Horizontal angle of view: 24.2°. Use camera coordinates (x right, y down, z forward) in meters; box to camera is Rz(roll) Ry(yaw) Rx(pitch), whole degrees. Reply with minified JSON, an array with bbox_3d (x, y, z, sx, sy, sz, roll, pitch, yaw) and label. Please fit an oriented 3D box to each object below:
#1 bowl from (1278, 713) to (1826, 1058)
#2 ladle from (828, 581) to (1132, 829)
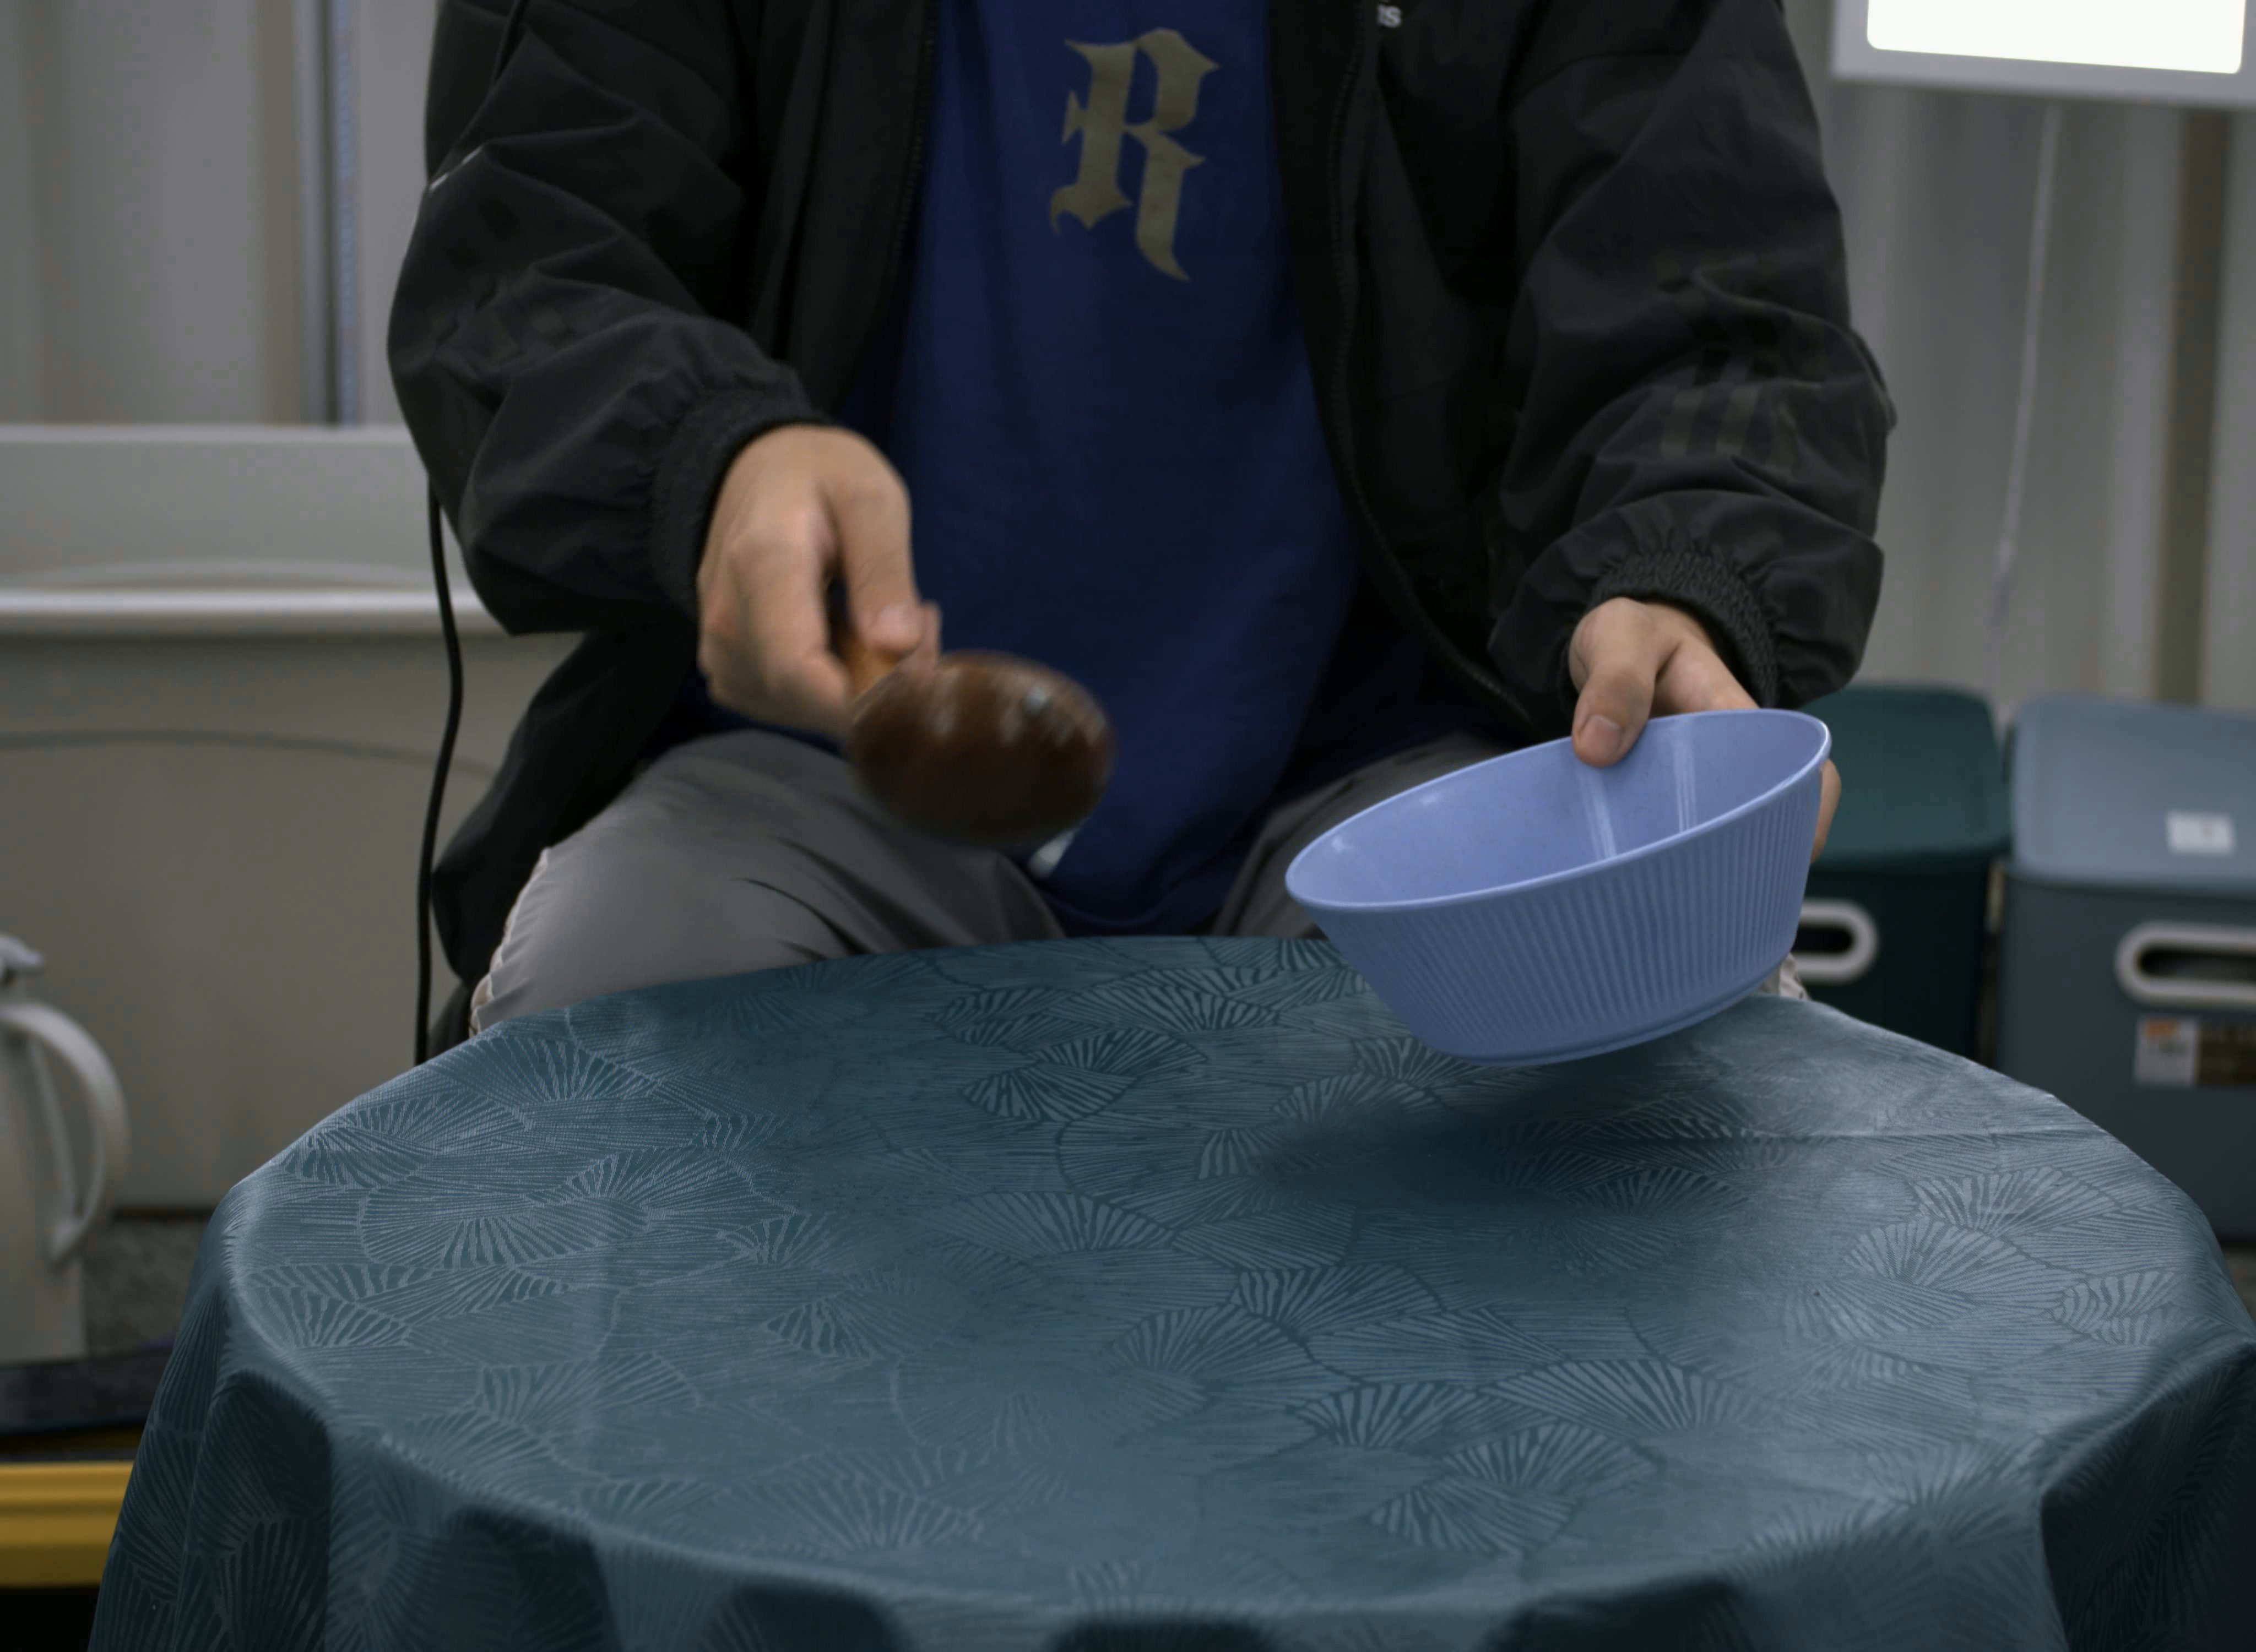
[{"bbox_3d":[0.140,0.022,1.646,0.175,0.071,0.175,-15,12,4],"label":"bowl"},{"bbox_3d":[-0.058,-0.062,1.650,0.082,0.077,0.271,27,12,-17],"label":"ladle"}]
